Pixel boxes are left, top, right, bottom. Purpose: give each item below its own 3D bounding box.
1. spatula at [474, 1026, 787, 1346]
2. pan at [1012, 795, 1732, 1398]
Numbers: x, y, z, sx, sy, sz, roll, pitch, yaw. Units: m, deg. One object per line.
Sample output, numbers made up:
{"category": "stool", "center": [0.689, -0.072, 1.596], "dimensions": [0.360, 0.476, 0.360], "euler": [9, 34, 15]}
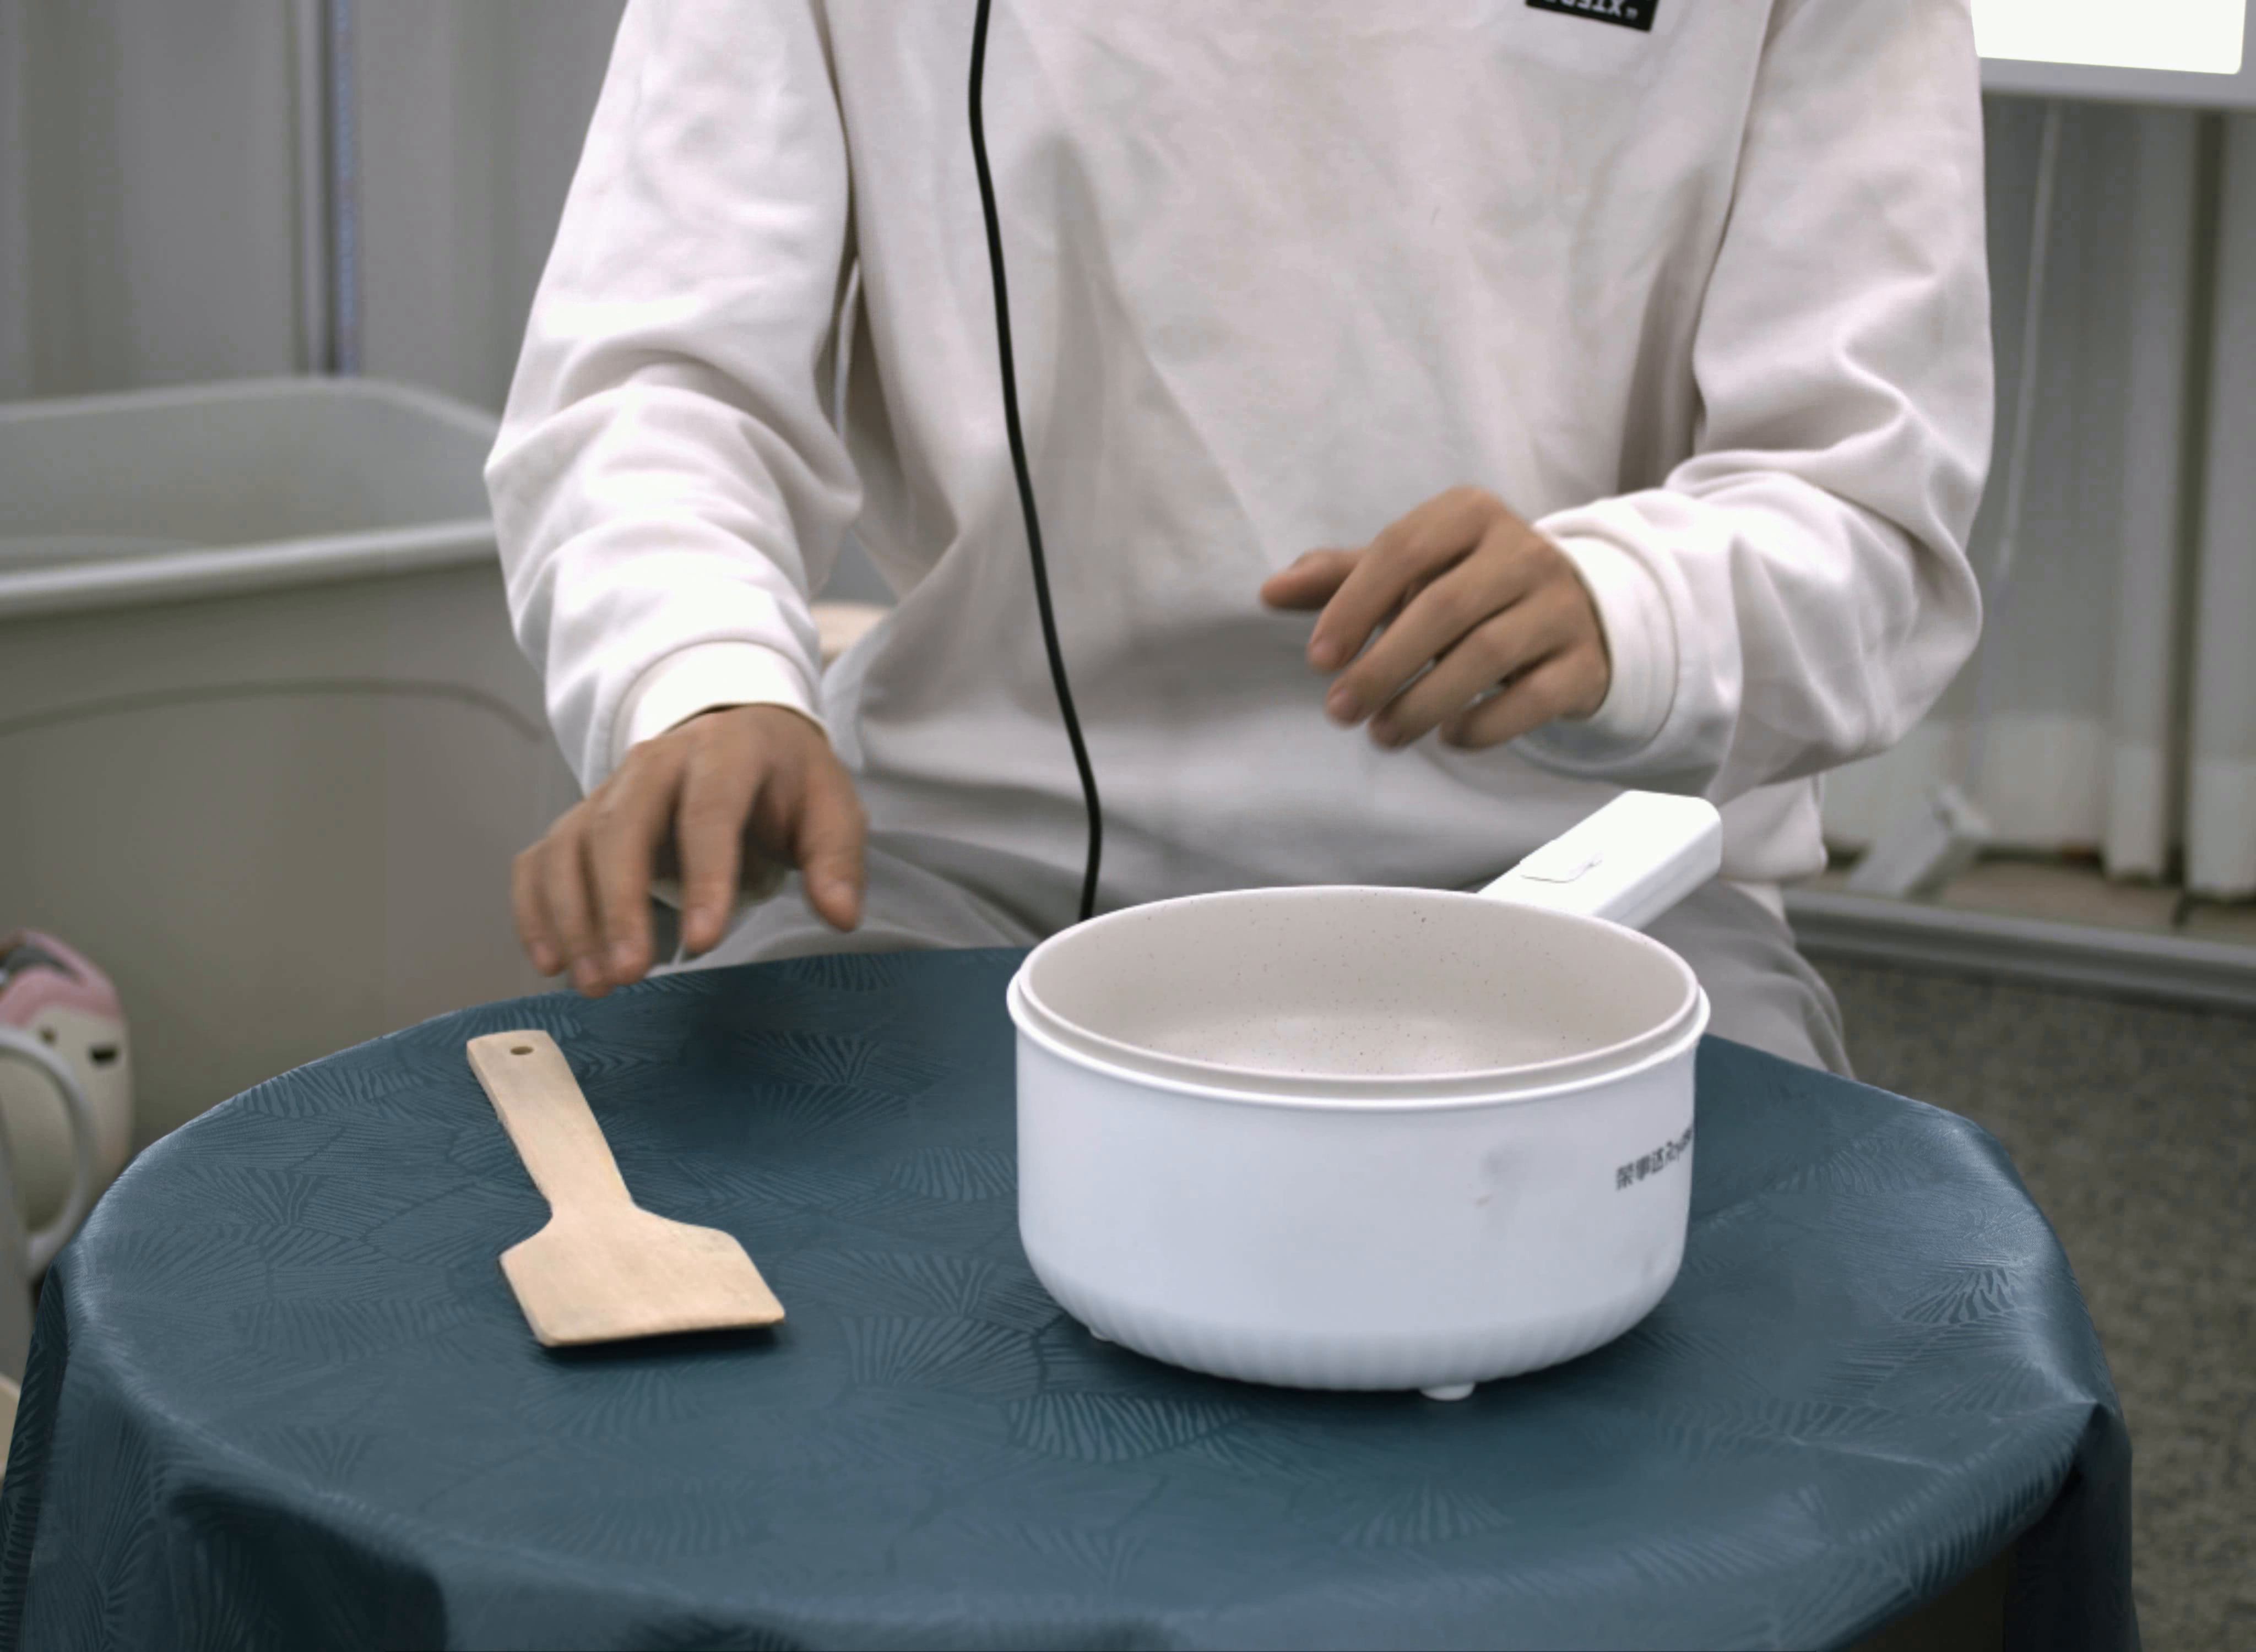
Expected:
{"category": "spatula", "center": [-0.169, 0.108, 1.621], "dimensions": [0.072, 0.011, 0.290], "euler": [-5, 16, -15]}
{"category": "pan", "center": [0.100, 0.074, 1.586], "dimensions": [0.199, 0.103, 0.356], "euler": [8, 16, 25]}
